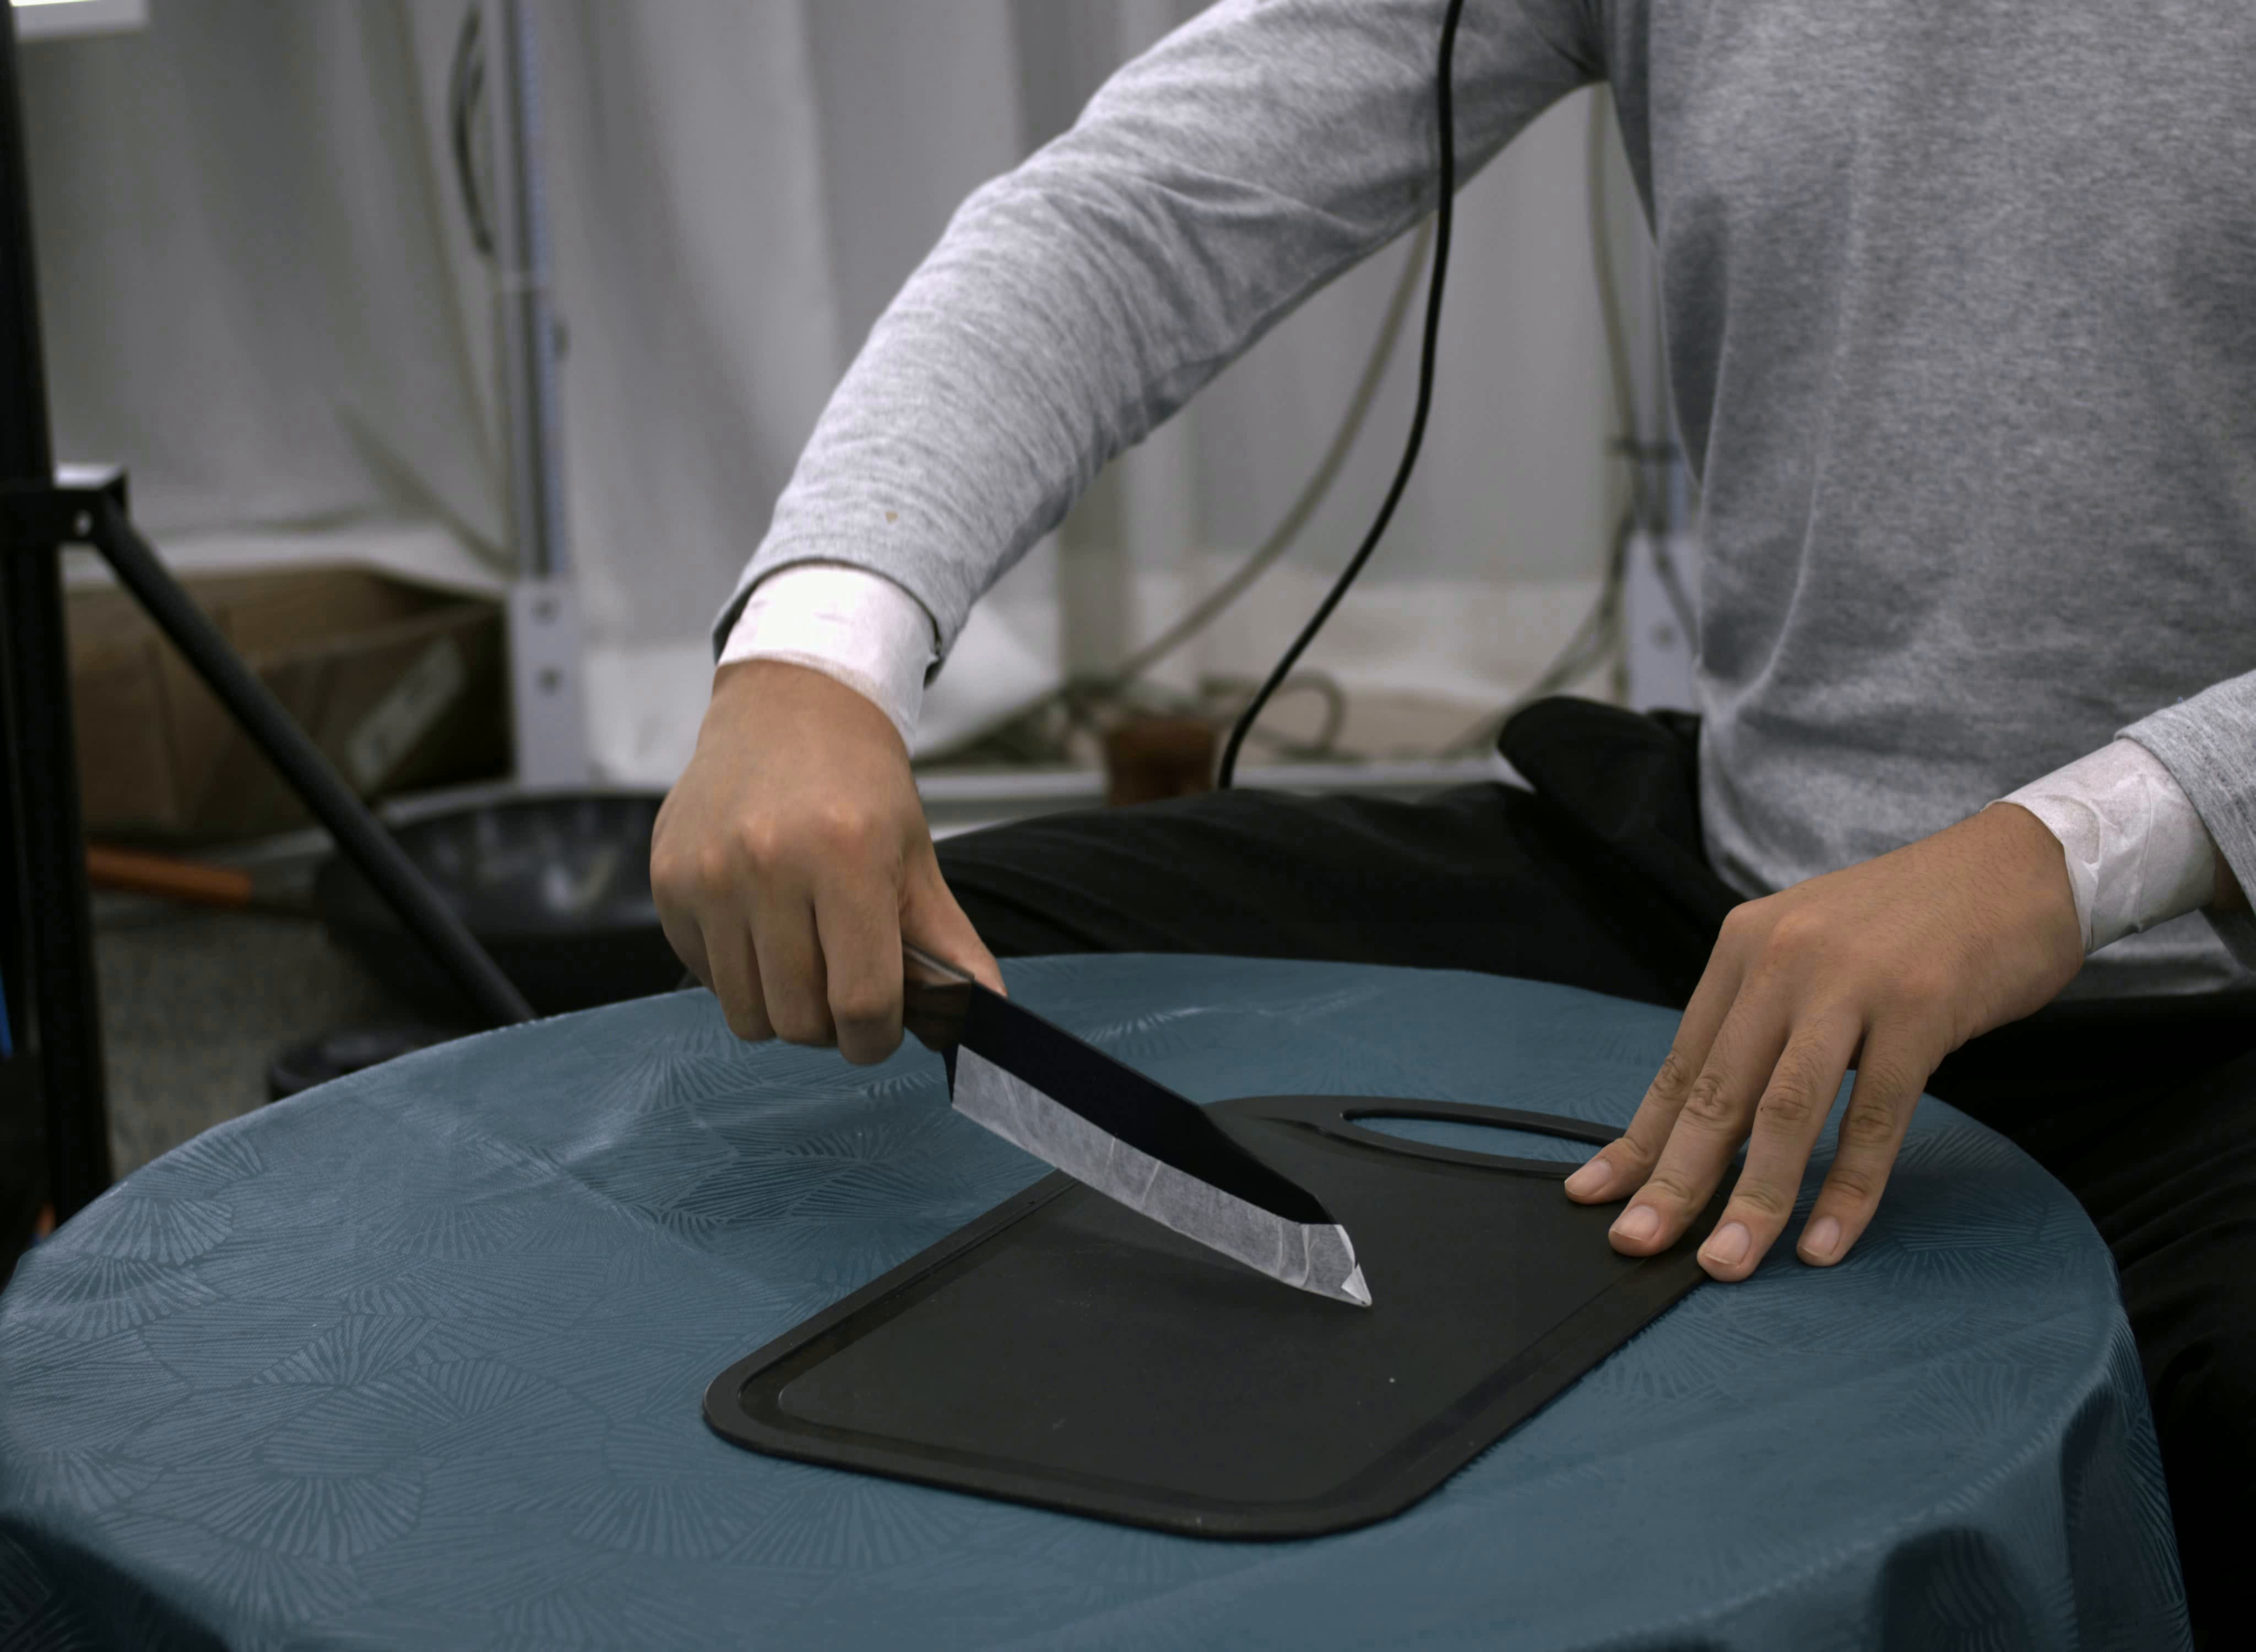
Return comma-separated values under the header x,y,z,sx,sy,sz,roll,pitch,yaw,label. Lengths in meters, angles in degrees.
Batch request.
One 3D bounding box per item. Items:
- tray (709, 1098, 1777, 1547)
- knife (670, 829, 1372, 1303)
x,y,z,sx,sy,sz,roll,pitch,yaw,label
0.041,0.128,1.475,0.215,0.010,0.319,8,18,31,tray
-0.034,0.067,1.541,0.019,0.050,0.295,-19,37,-41,knife
